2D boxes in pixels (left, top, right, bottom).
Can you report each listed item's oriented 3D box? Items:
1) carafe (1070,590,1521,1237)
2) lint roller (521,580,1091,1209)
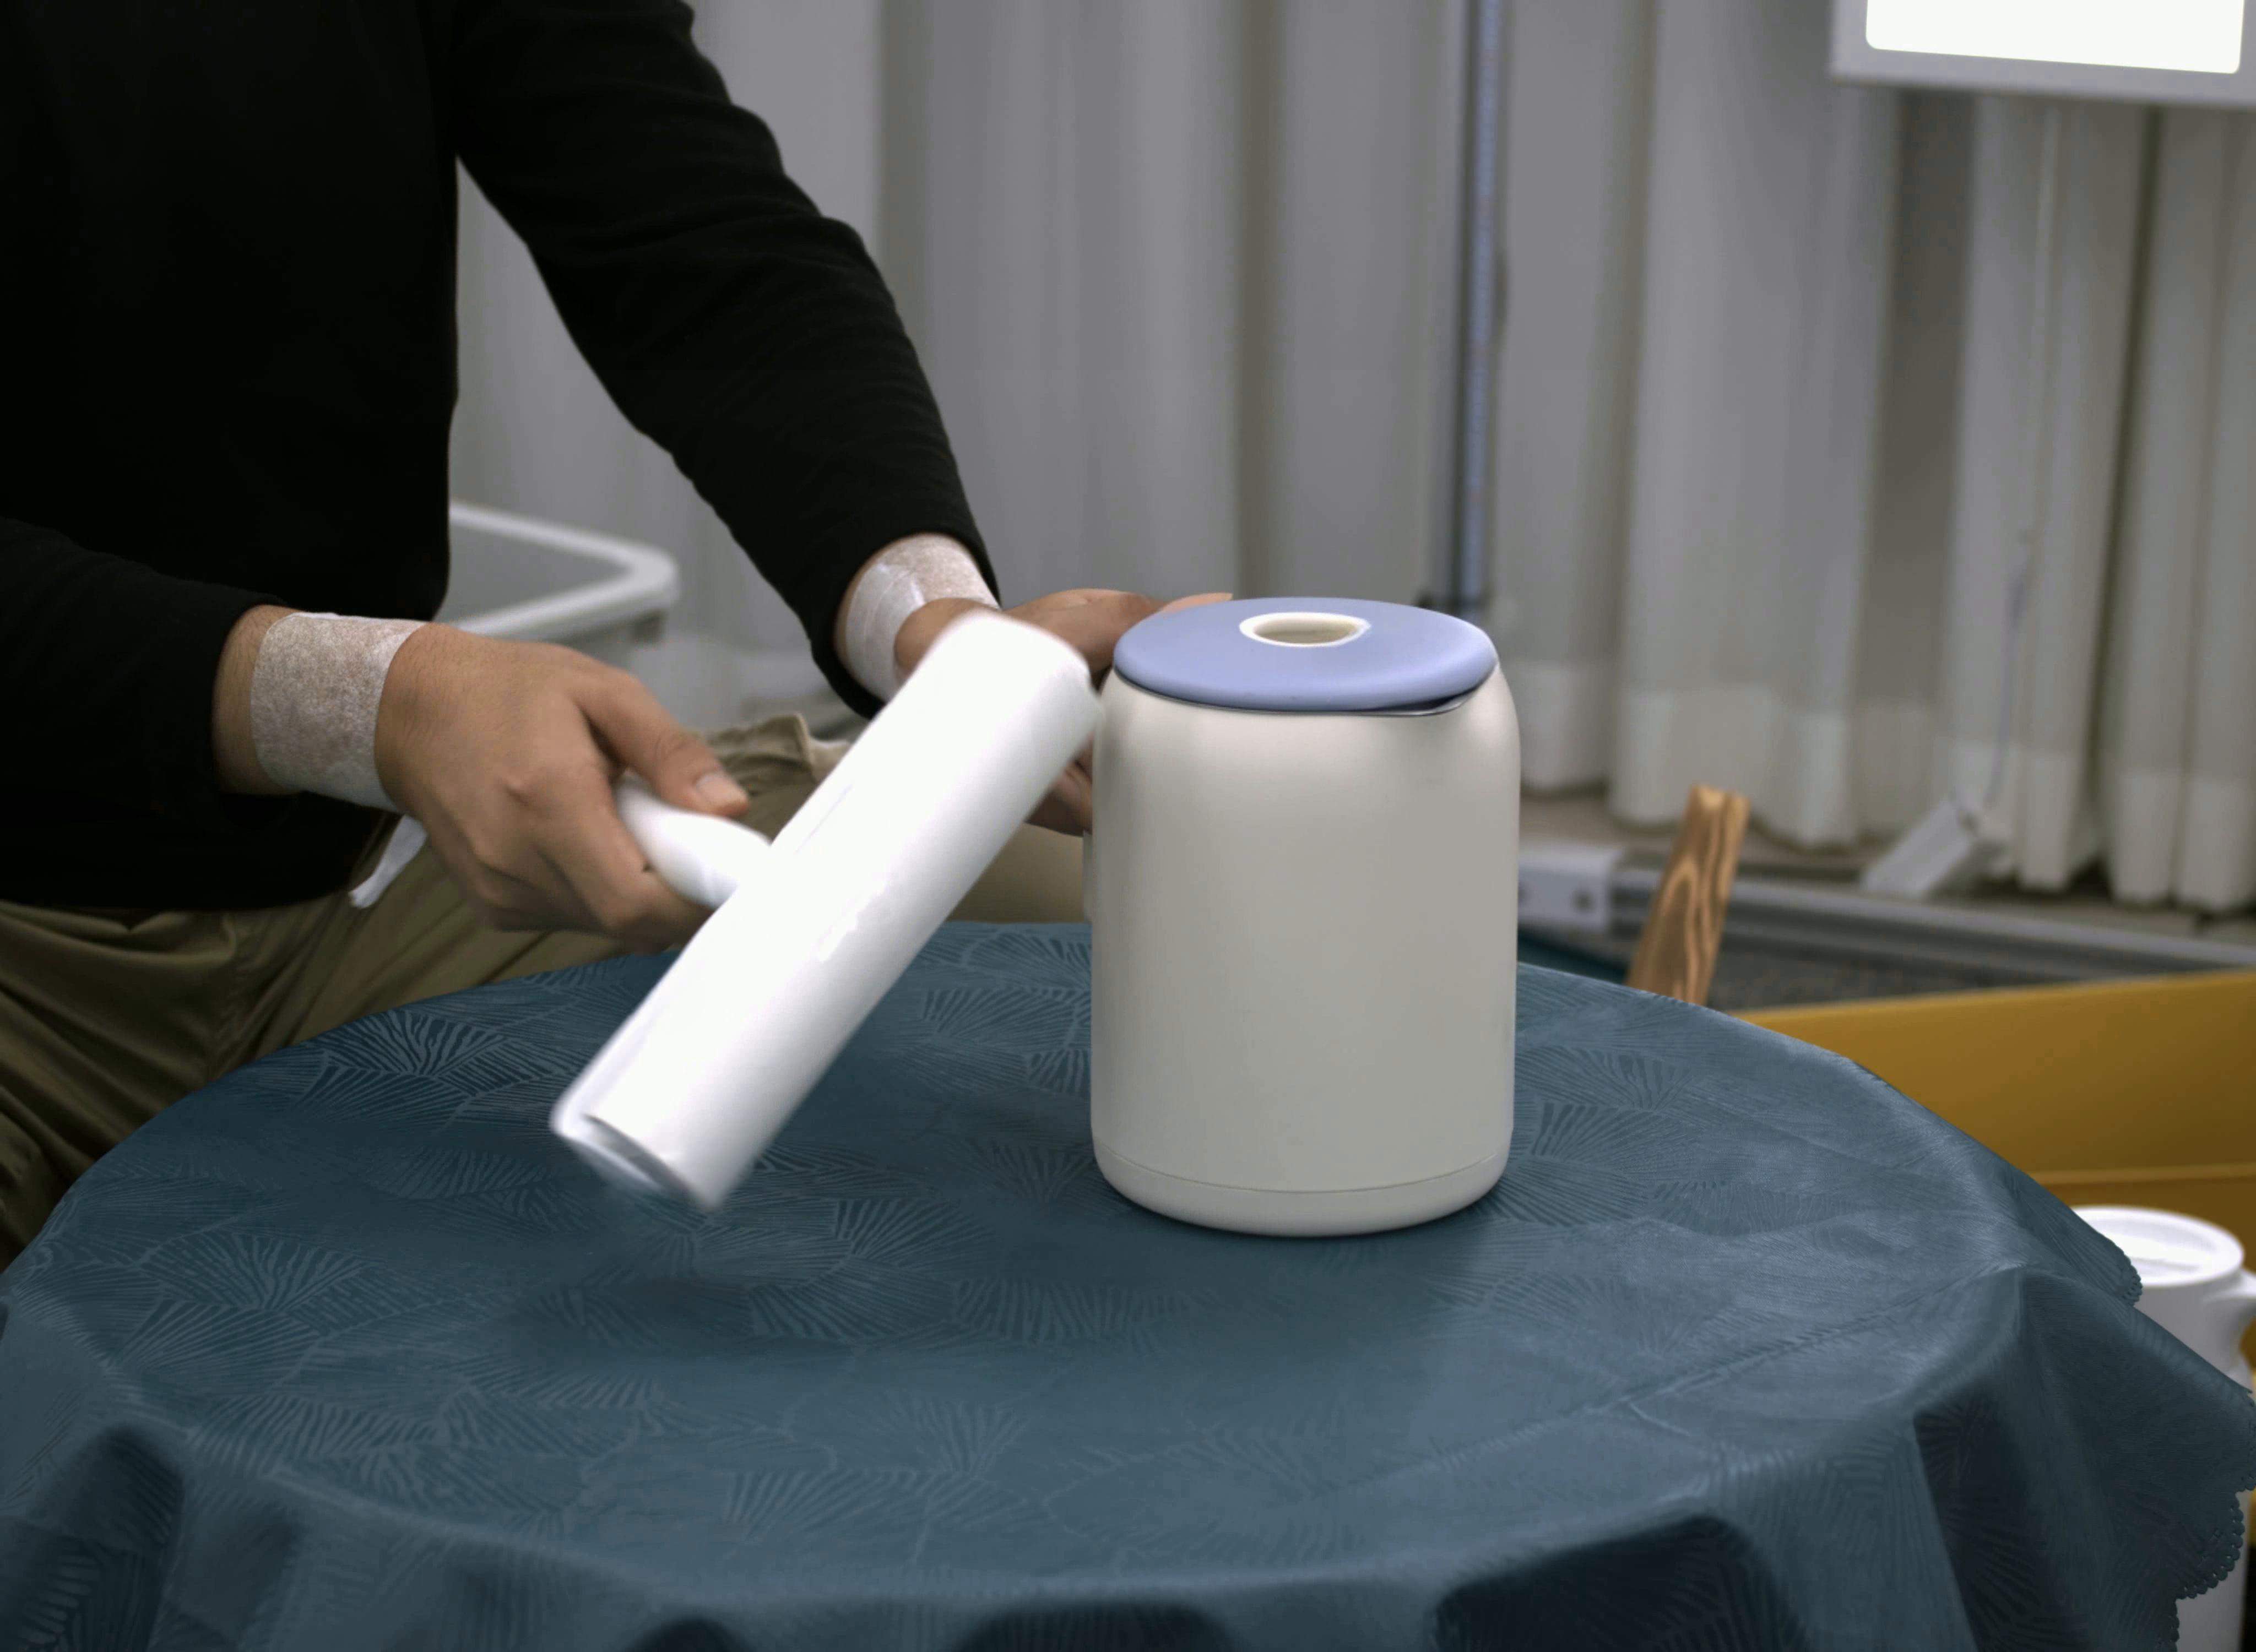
[{"bbox_3d":[0.041,0.020,1.631,0.133,0.184,0.188,-10,17,-33],"label":"carafe"},{"bbox_3d":[-0.131,0.004,1.604,0.222,0.203,0.049,20,-18,51],"label":"lint roller"}]
